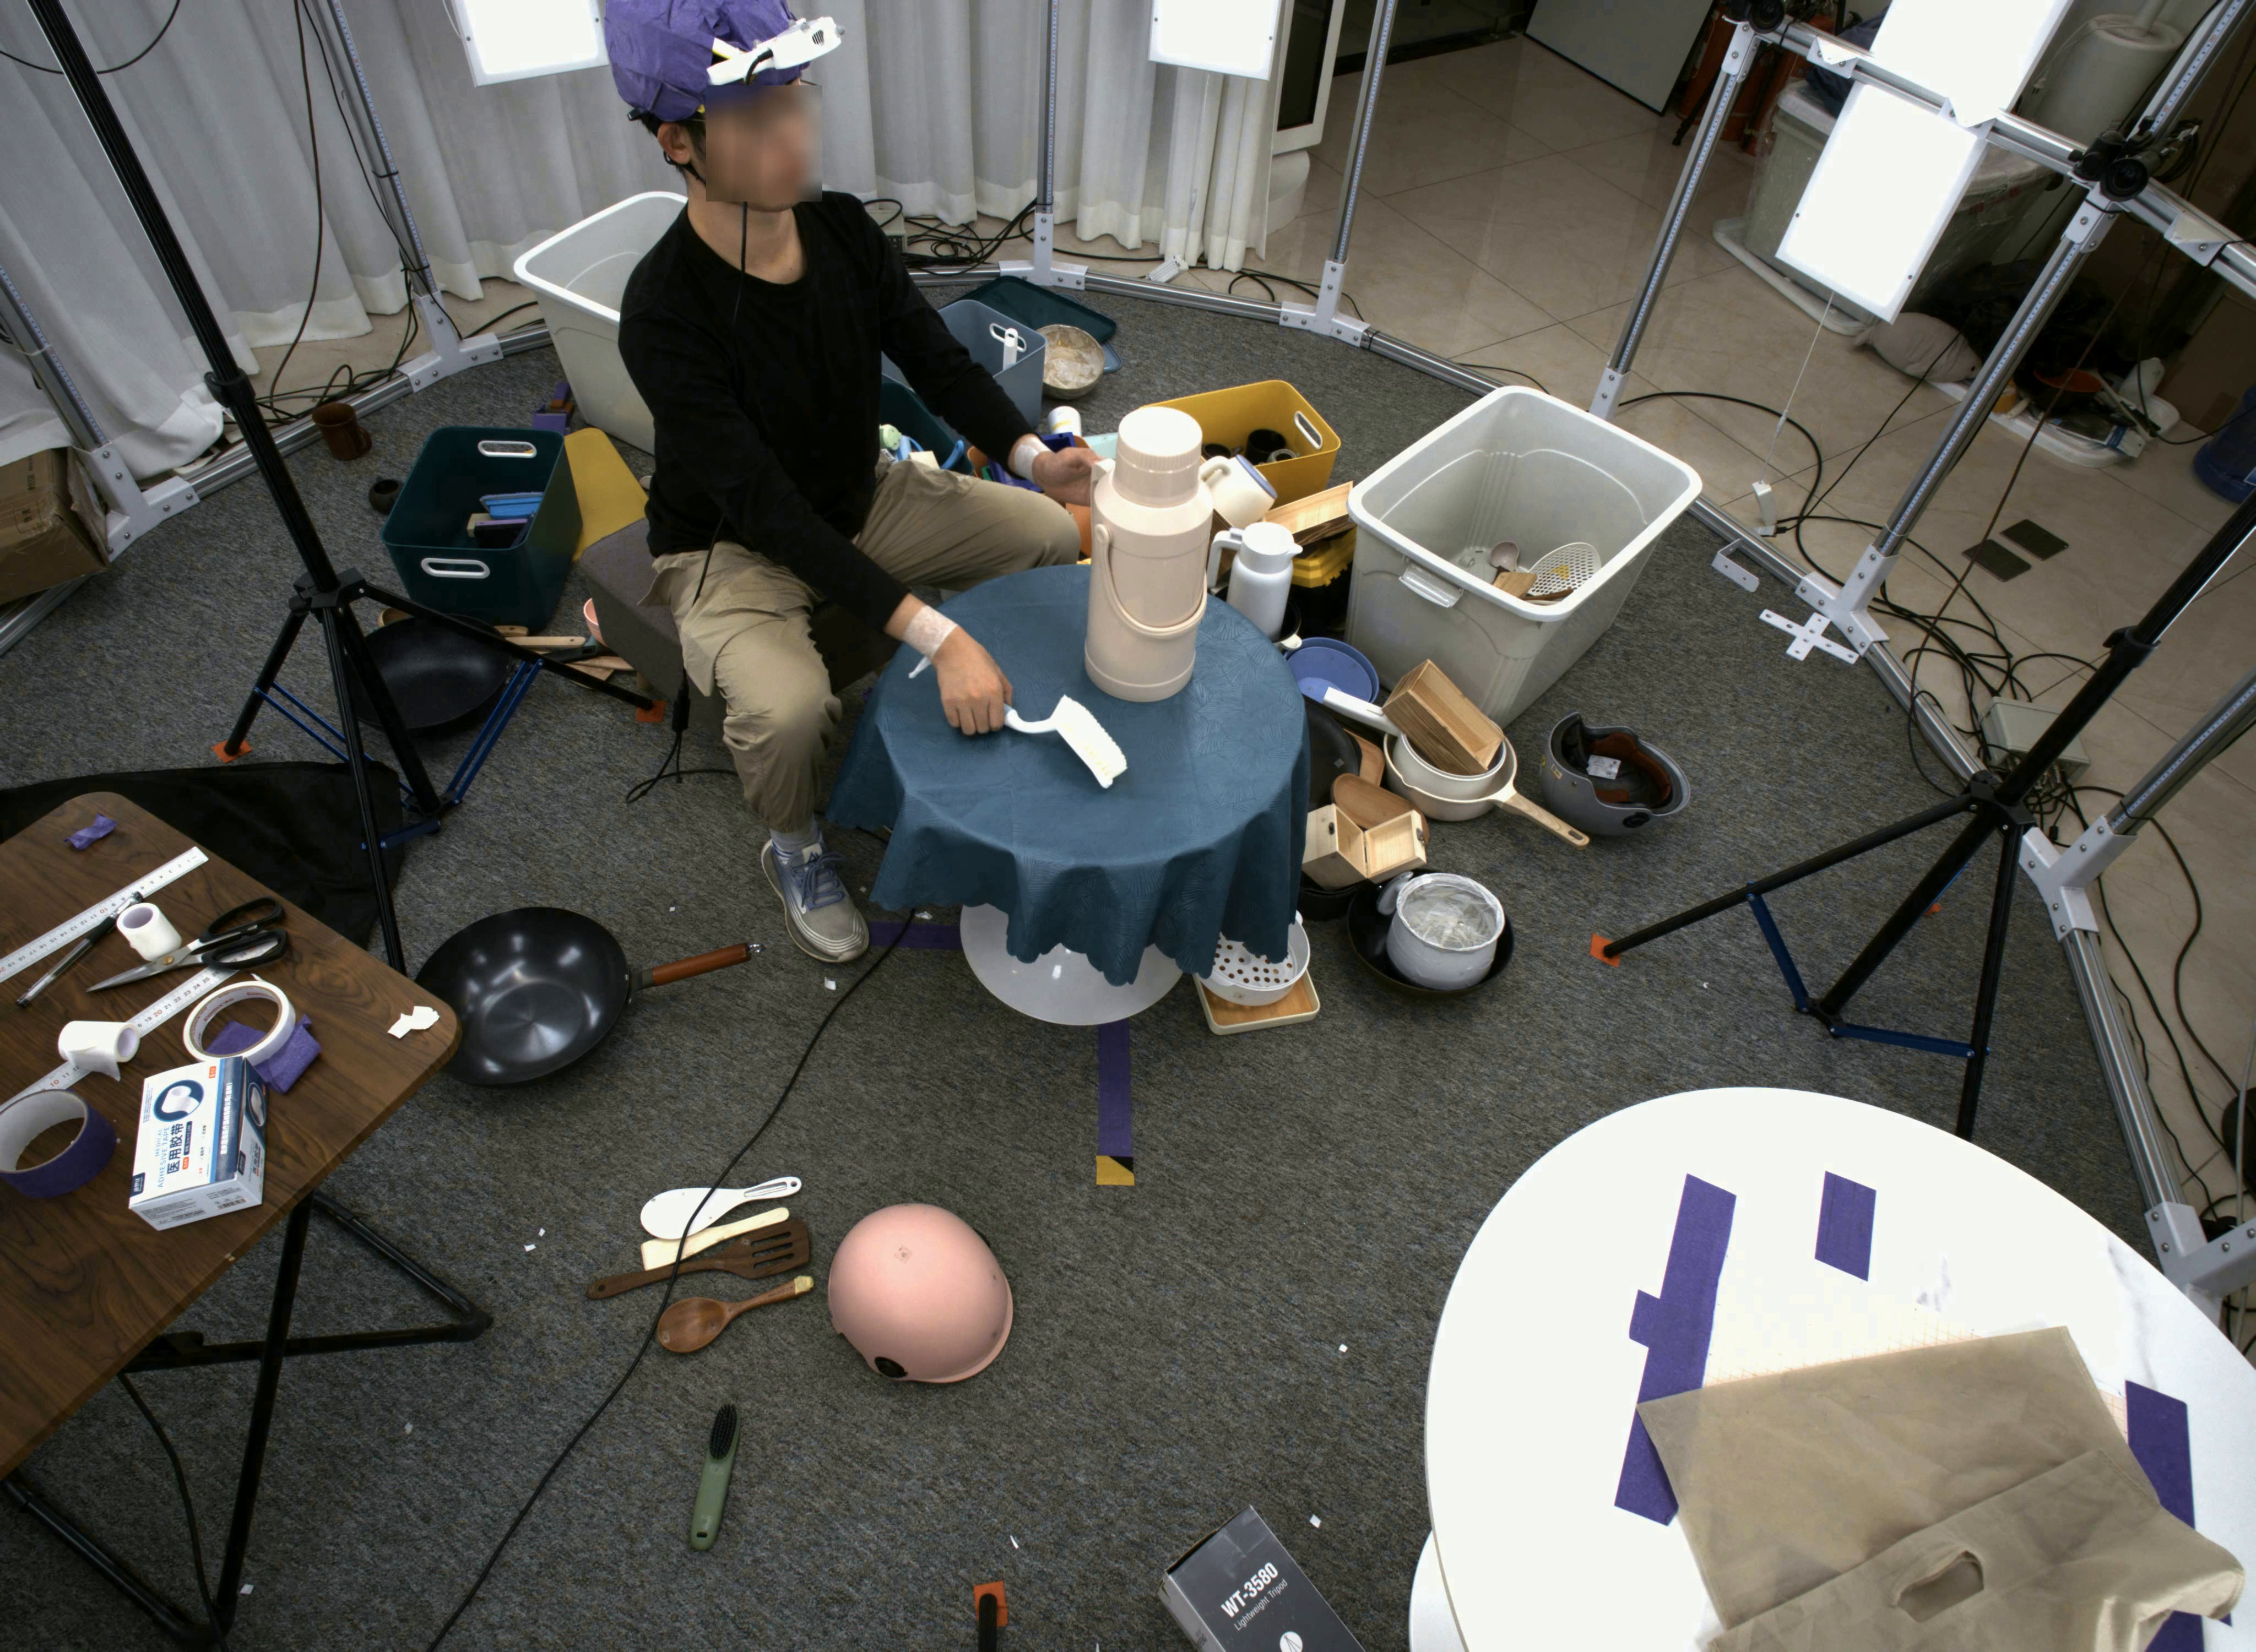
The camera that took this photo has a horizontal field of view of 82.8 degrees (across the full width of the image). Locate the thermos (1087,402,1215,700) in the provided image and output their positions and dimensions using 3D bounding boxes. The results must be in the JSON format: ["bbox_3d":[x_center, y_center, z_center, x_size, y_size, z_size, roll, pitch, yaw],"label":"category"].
[{"bbox_3d":[0.021,-0.373,1.739,0.176,0.396,0.211,-31,58,-25],"label":"thermos"}]

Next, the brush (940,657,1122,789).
[{"bbox_3d":[-0.130,-0.169,1.758,0.330,0.081,0.085,37,58,24],"label":"brush"}]
